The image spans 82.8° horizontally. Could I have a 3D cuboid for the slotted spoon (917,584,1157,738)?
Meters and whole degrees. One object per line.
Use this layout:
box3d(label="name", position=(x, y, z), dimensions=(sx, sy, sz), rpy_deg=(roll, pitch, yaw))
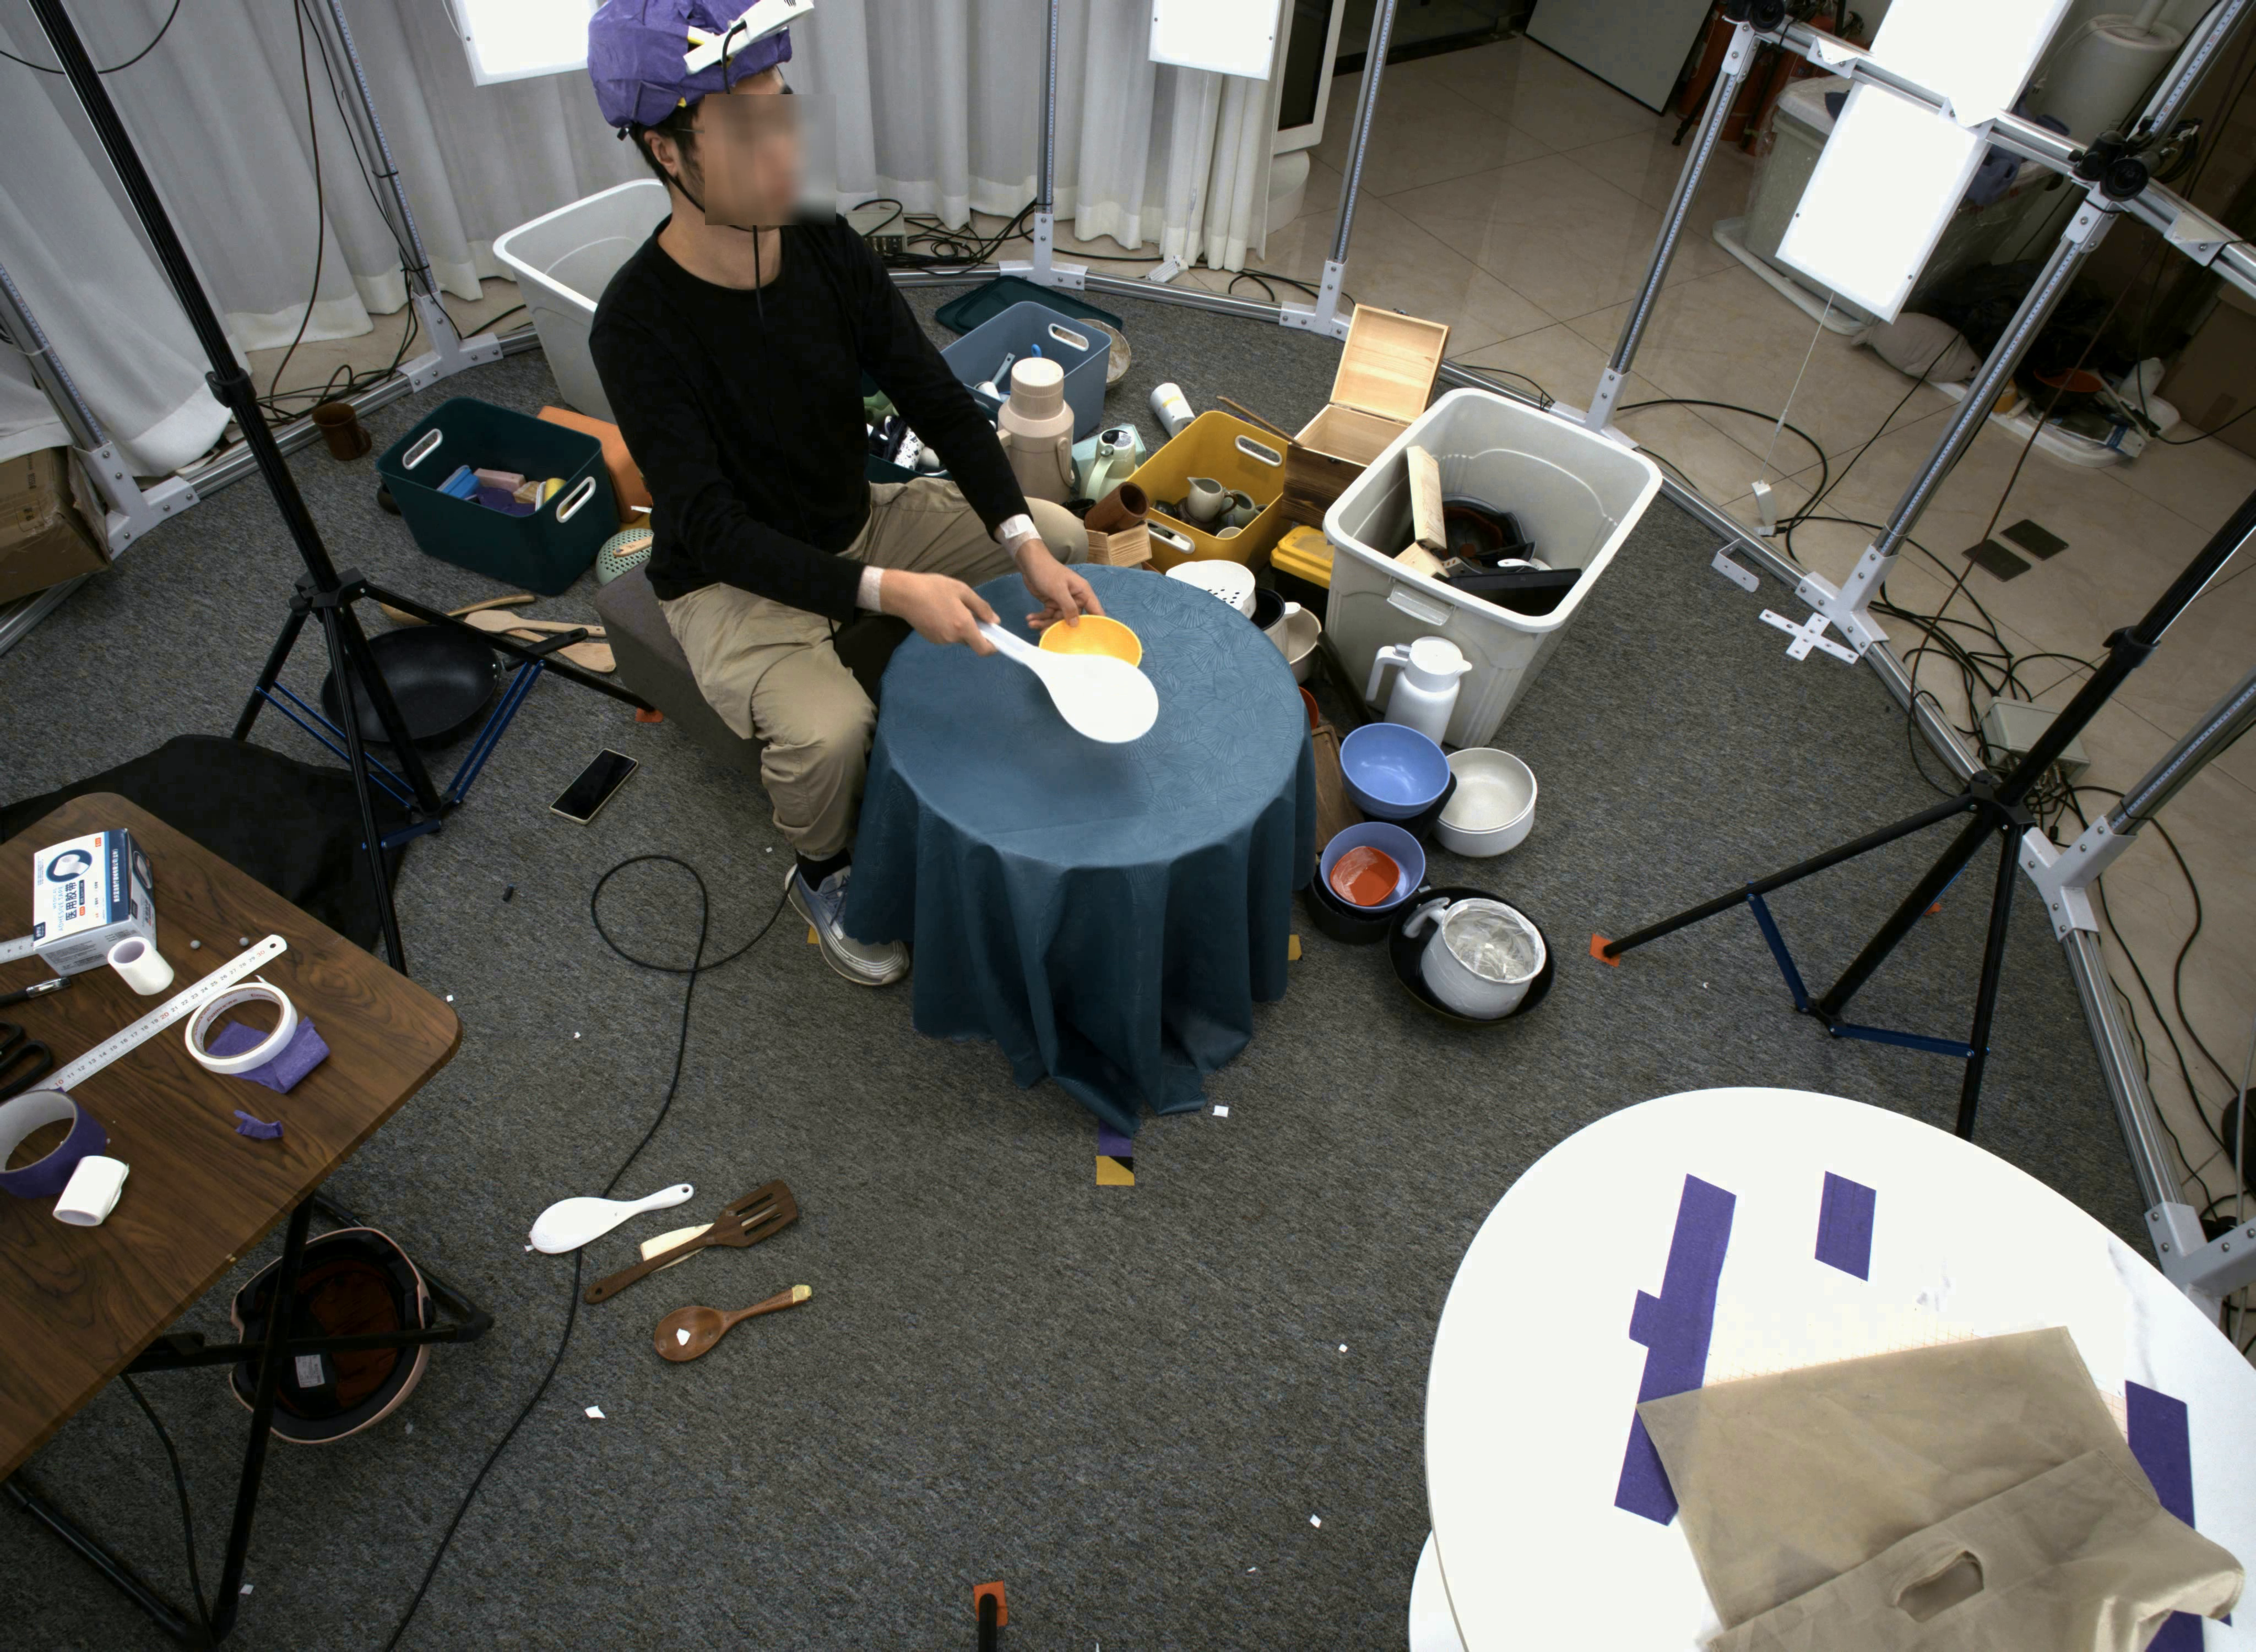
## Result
box3d(label="slotted spoon", position=(-0.123, -0.222, 1.684), dimensions=(0.350, 0.045, 0.138), rpy_deg=(33, 55, 3))

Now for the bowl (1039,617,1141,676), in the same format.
box3d(label="bowl", position=(-0.056, -0.229, 1.830), dimensions=(0.145, 0.058, 0.149), rpy_deg=(3, 47, -3))
